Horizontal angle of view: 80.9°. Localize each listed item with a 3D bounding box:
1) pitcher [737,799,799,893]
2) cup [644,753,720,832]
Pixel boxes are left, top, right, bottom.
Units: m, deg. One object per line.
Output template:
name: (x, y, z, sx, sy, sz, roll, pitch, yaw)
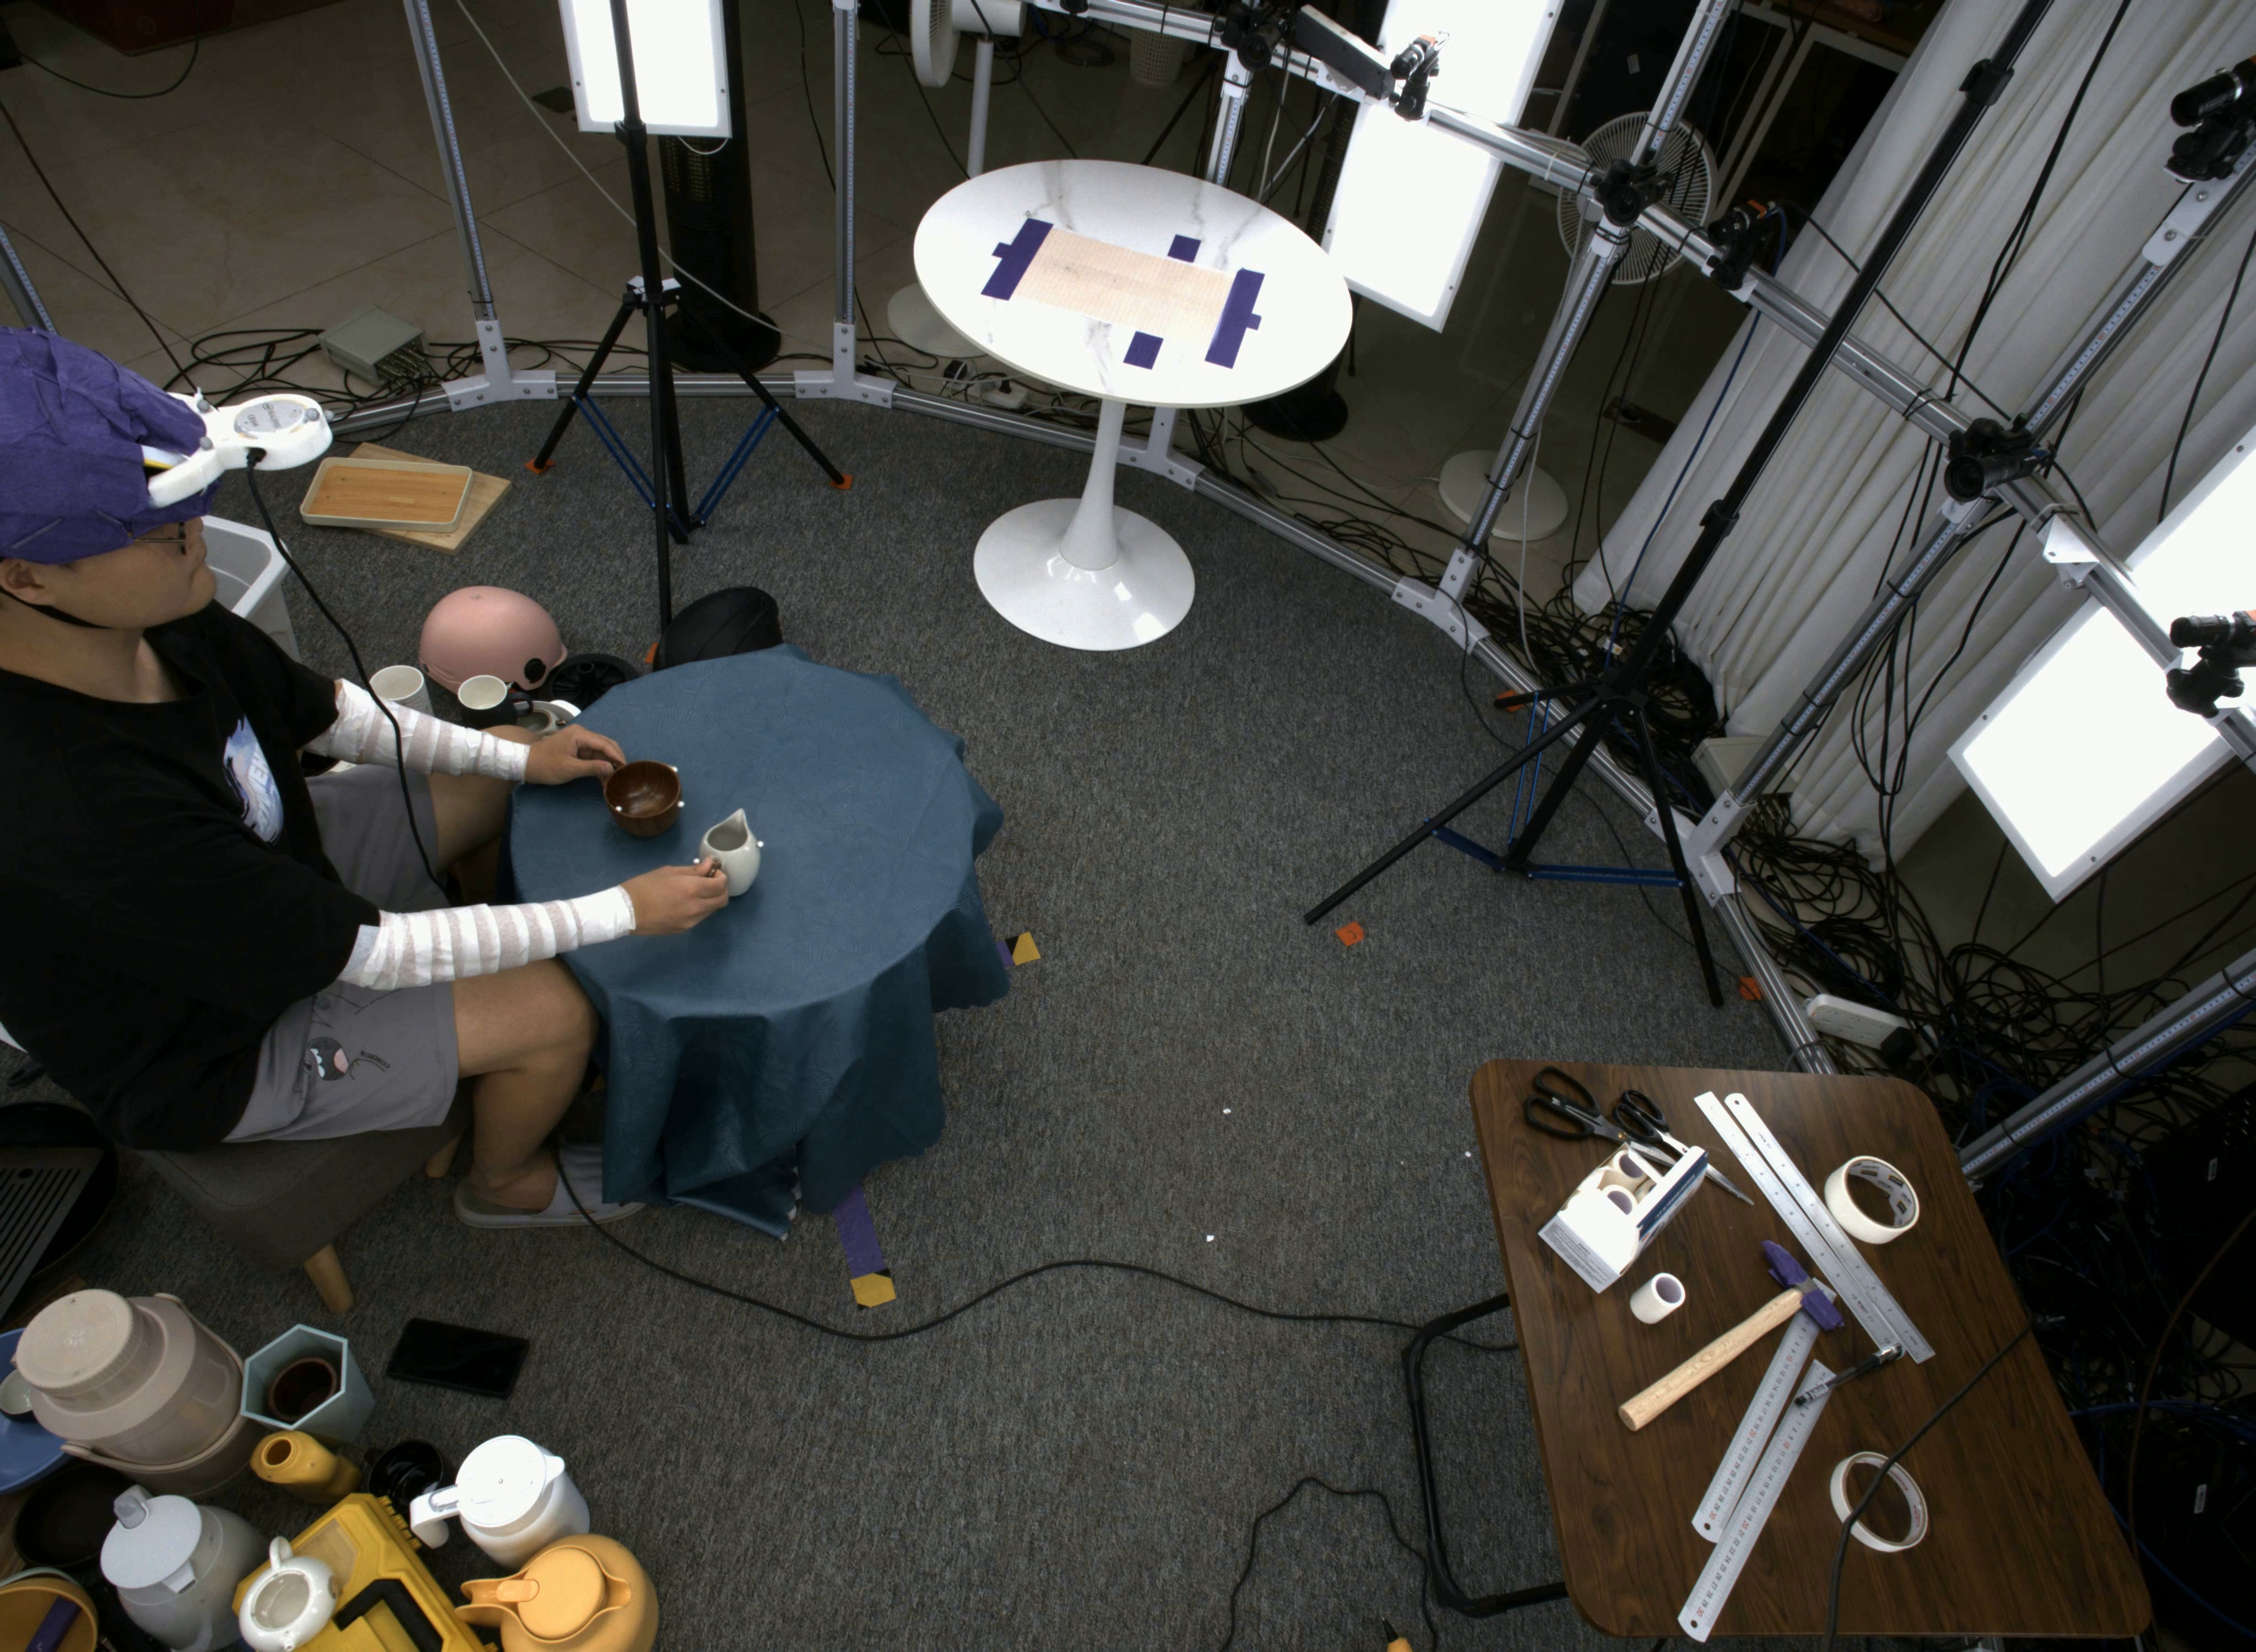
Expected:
pitcher: (-0.459, 0.034, 1.639, 0.074, 0.090, 0.118, 13, 38, 10)
cup: (-0.588, -0.046, 1.687, 0.116, 0.069, 0.096, 41, 59, 20)
